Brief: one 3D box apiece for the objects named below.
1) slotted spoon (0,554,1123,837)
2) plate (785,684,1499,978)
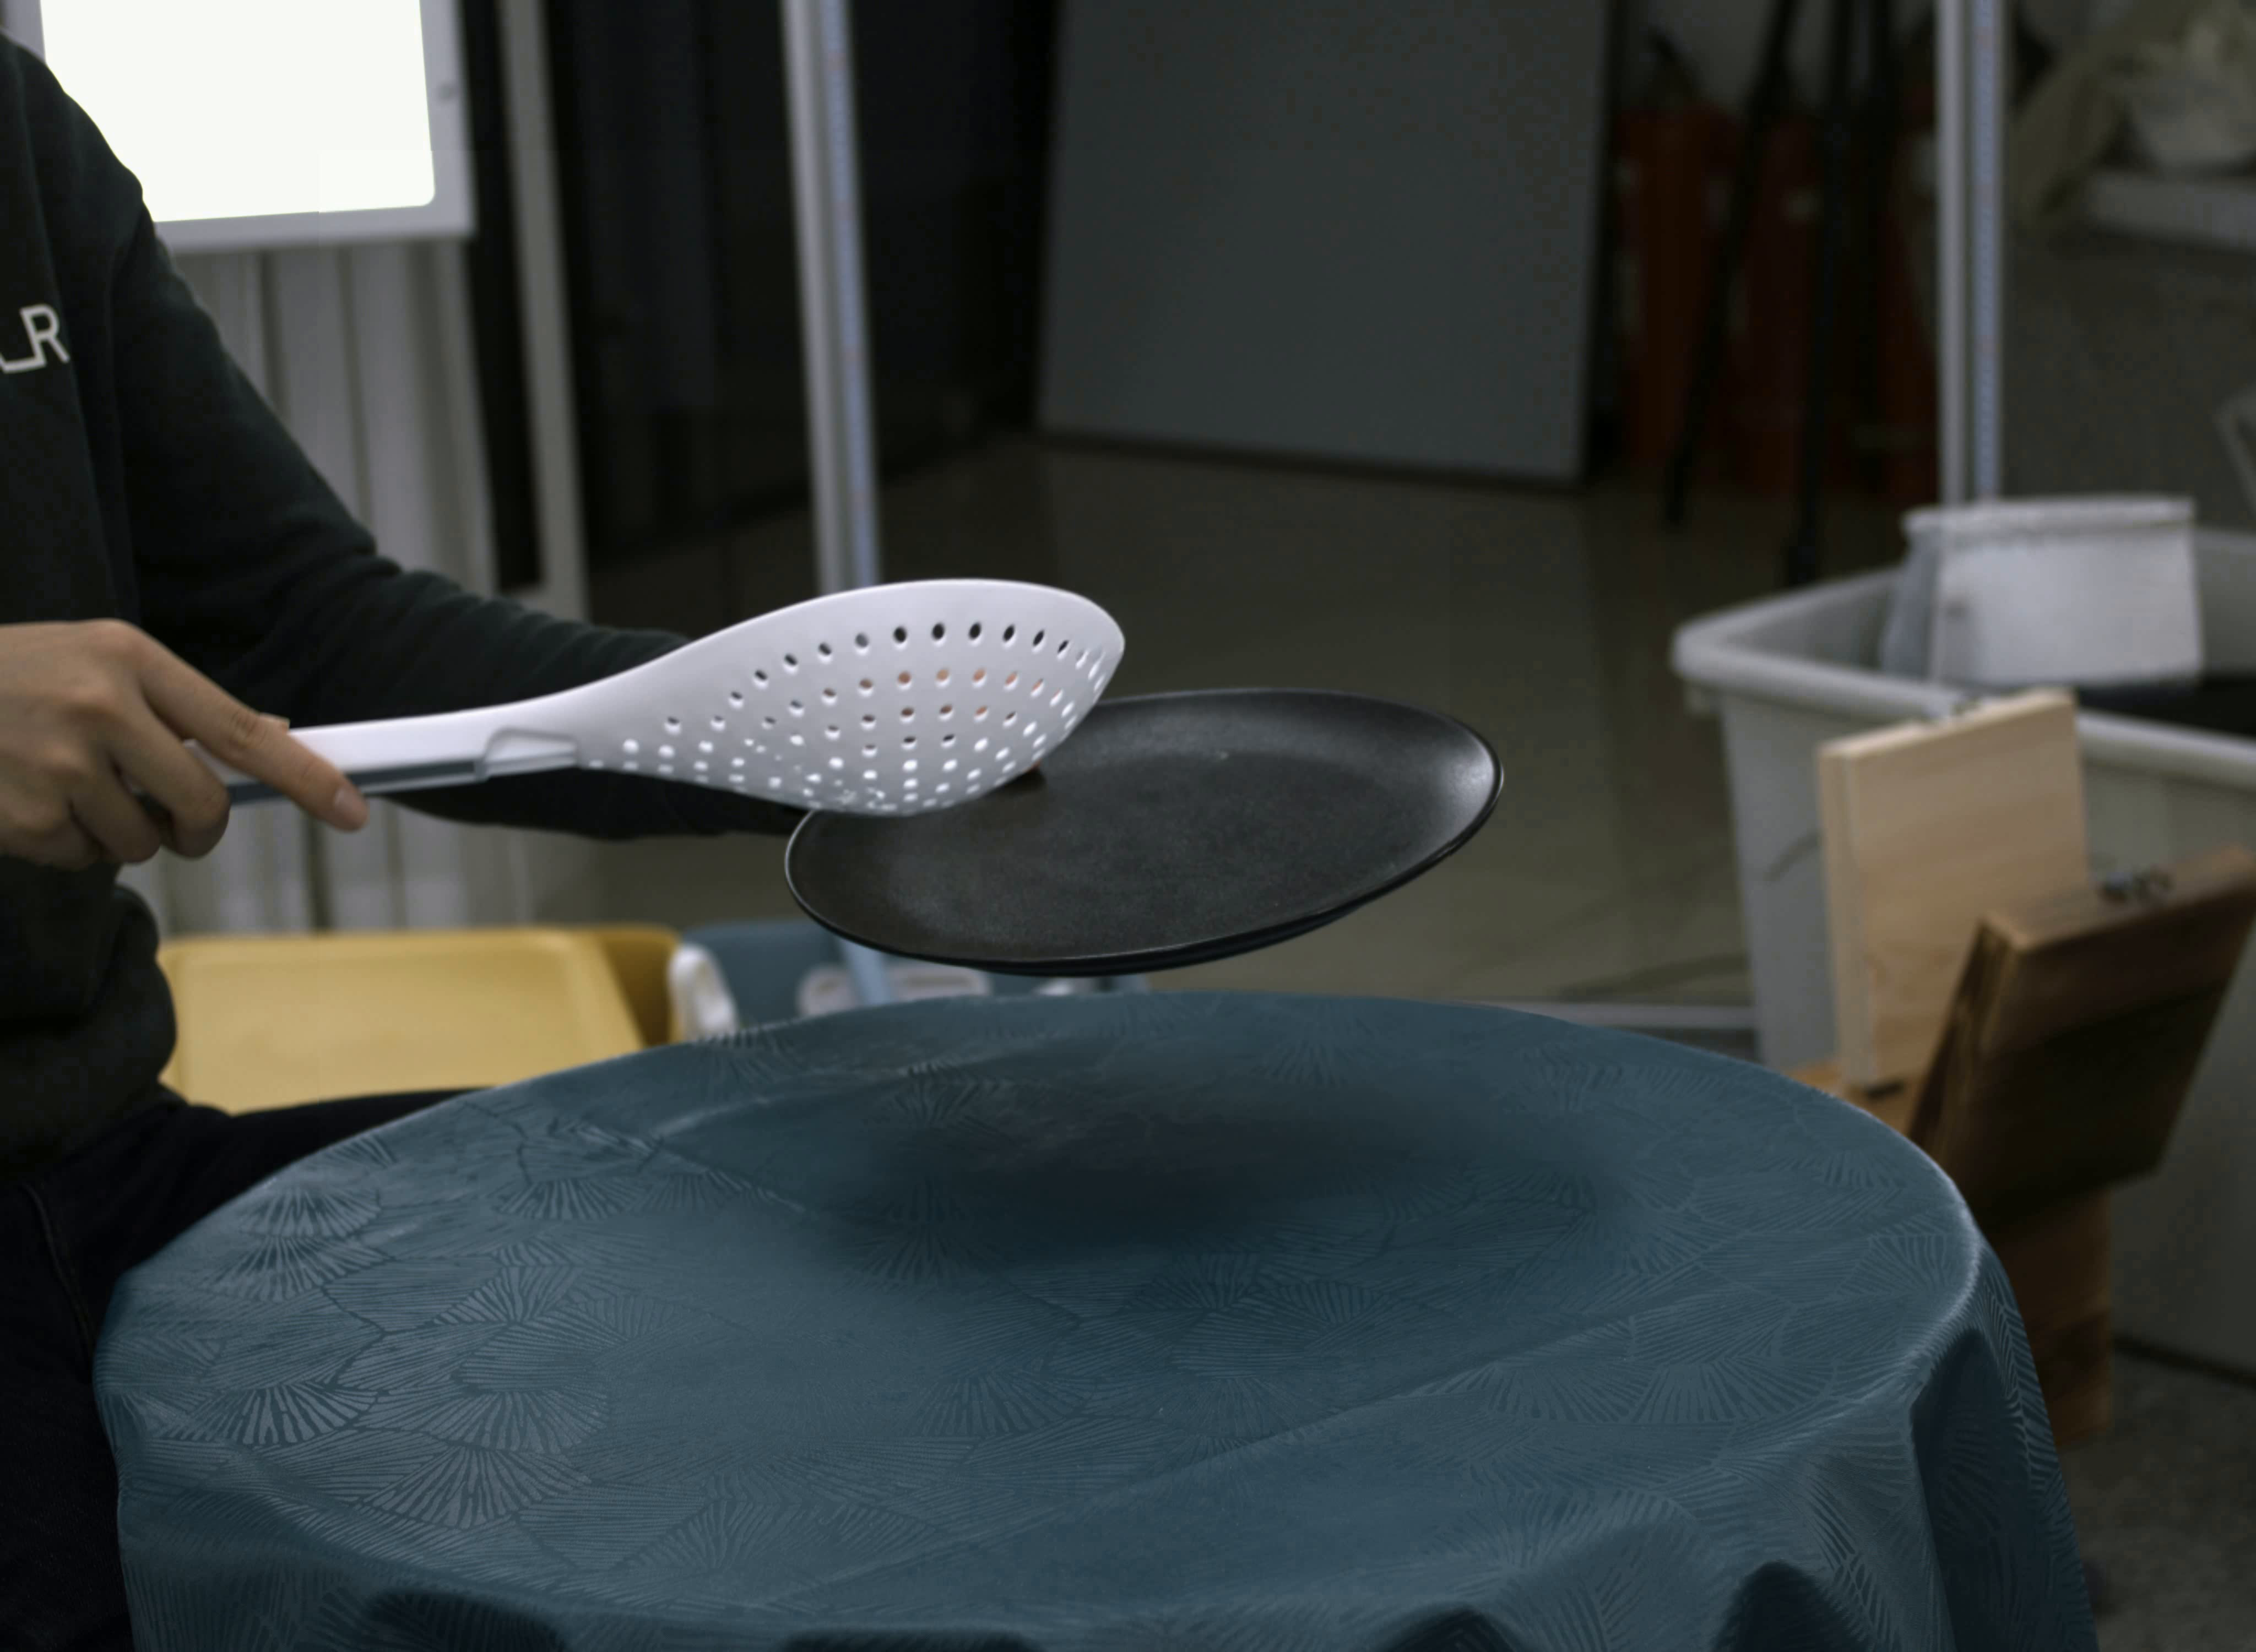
[{"bbox_3d":[-0.172,-0.028,1.551,0.345,0.046,0.136,-3,-22,-1],"label":"slotted spoon"},{"bbox_3d":[0.006,0.005,1.797,0.241,0.023,0.245,-8,20,2],"label":"plate"}]
